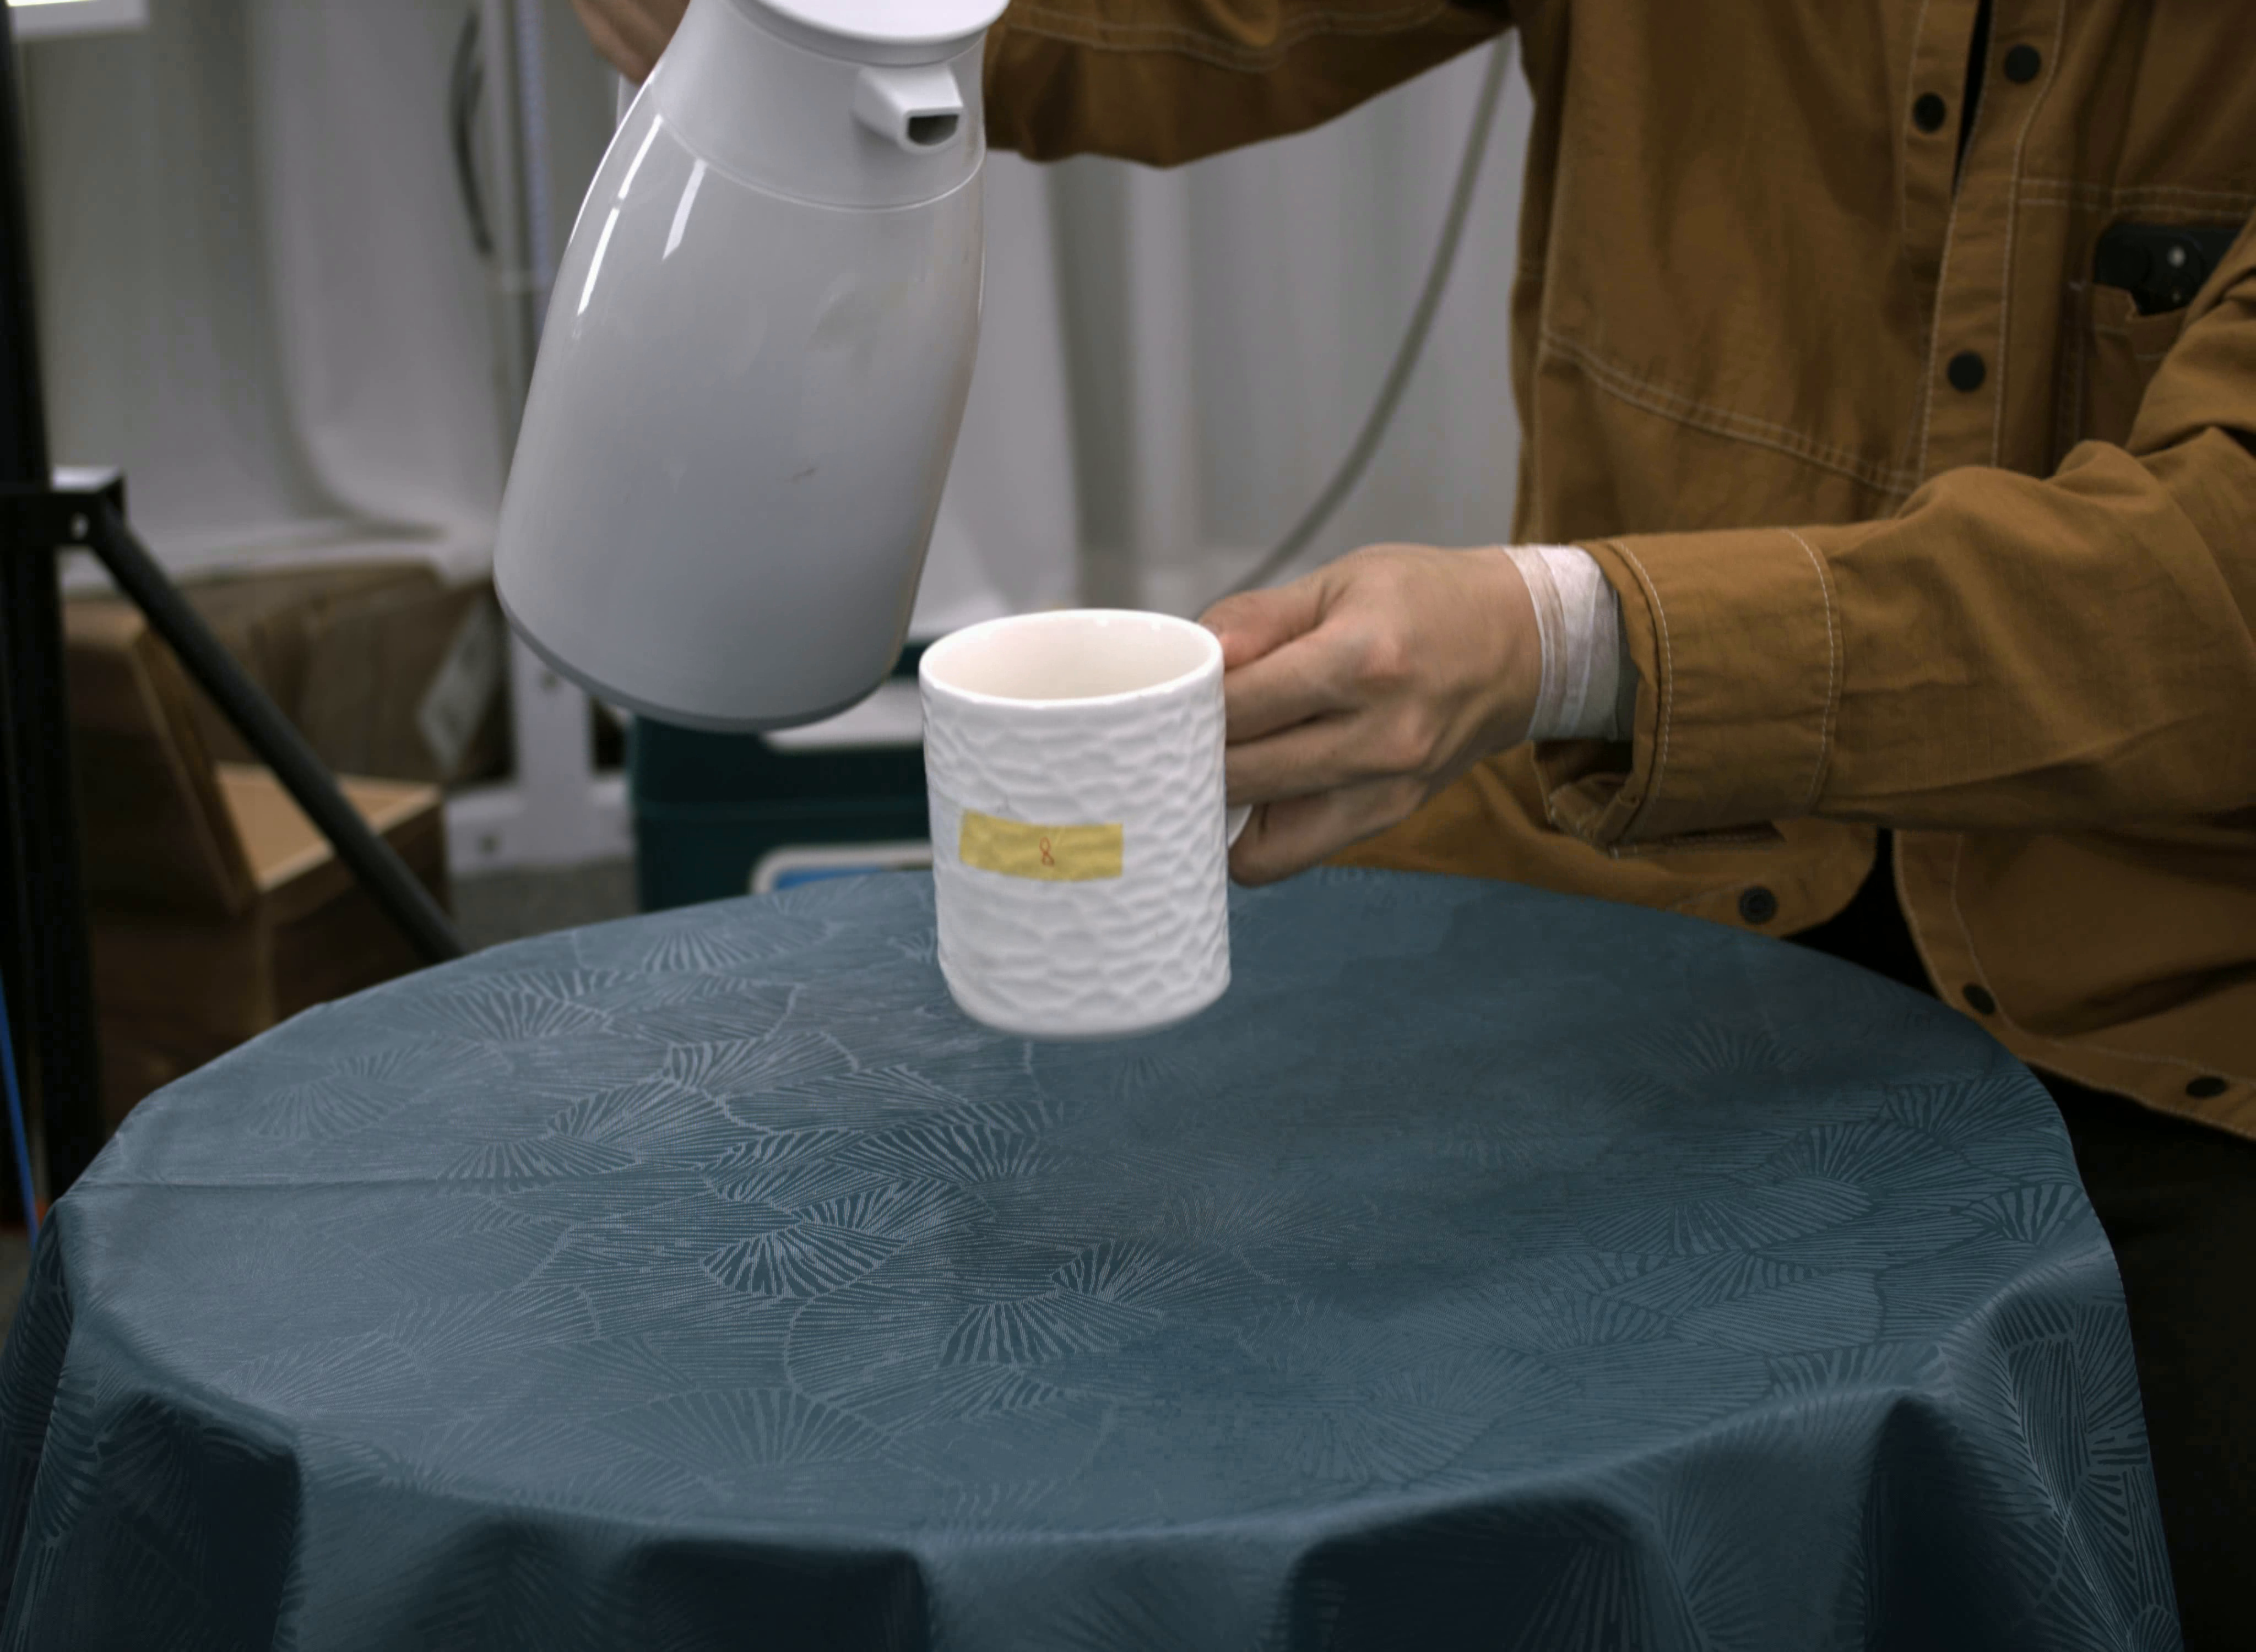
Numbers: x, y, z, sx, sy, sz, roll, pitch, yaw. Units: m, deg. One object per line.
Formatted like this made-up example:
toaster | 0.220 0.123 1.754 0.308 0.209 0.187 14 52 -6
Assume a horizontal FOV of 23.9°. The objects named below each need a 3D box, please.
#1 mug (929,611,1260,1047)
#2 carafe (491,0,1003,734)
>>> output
mug | -0.003 -0.004 1.499 0.087 0.102 0.116 13 23 36
carafe | -0.115 -0.176 1.607 0.129 0.249 0.171 -8 44 -29
